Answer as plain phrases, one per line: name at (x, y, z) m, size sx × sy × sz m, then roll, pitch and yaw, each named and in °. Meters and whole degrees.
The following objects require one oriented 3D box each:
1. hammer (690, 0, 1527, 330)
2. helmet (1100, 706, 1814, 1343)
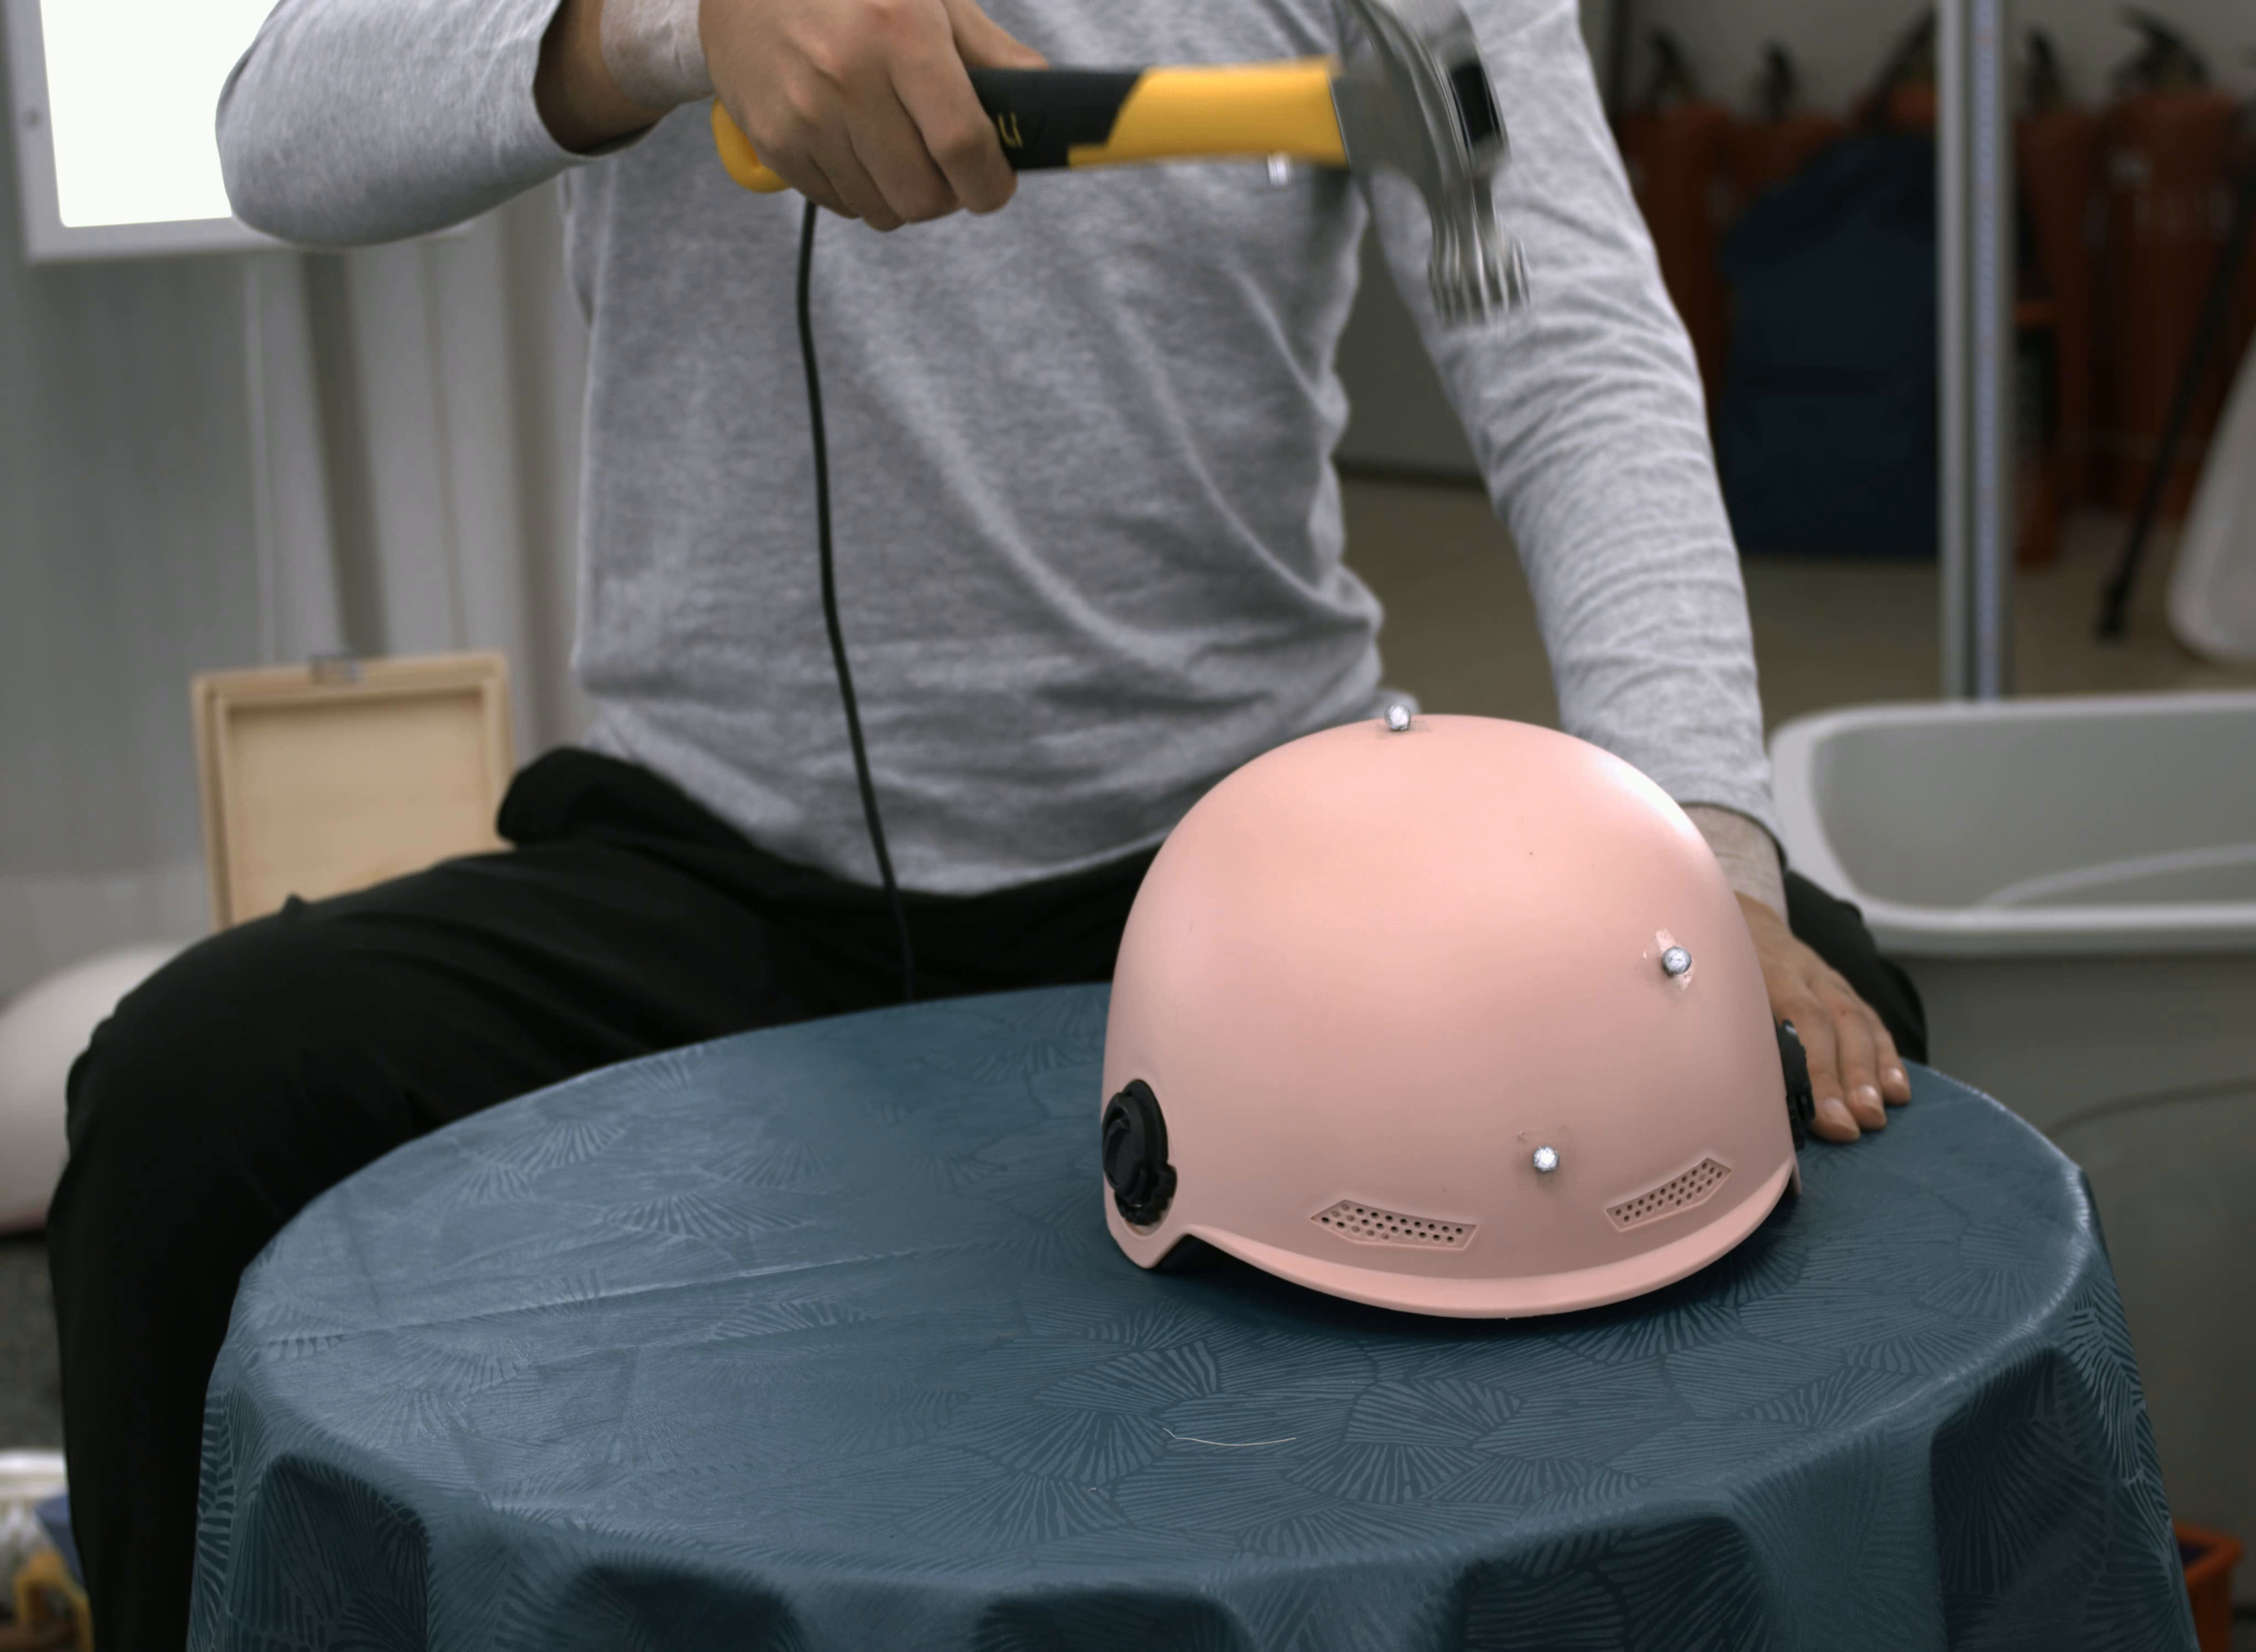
hammer at (-0.018, -0.225, 1.727) m, size 0.341 × 0.132 × 0.032 m, roll 5°, pitch 27°, yaw 44°
helmet at (0.100, 0.050, 1.717) m, size 0.230 × 0.160 × 0.268 m, roll -6°, pitch 18°, yaw -9°
